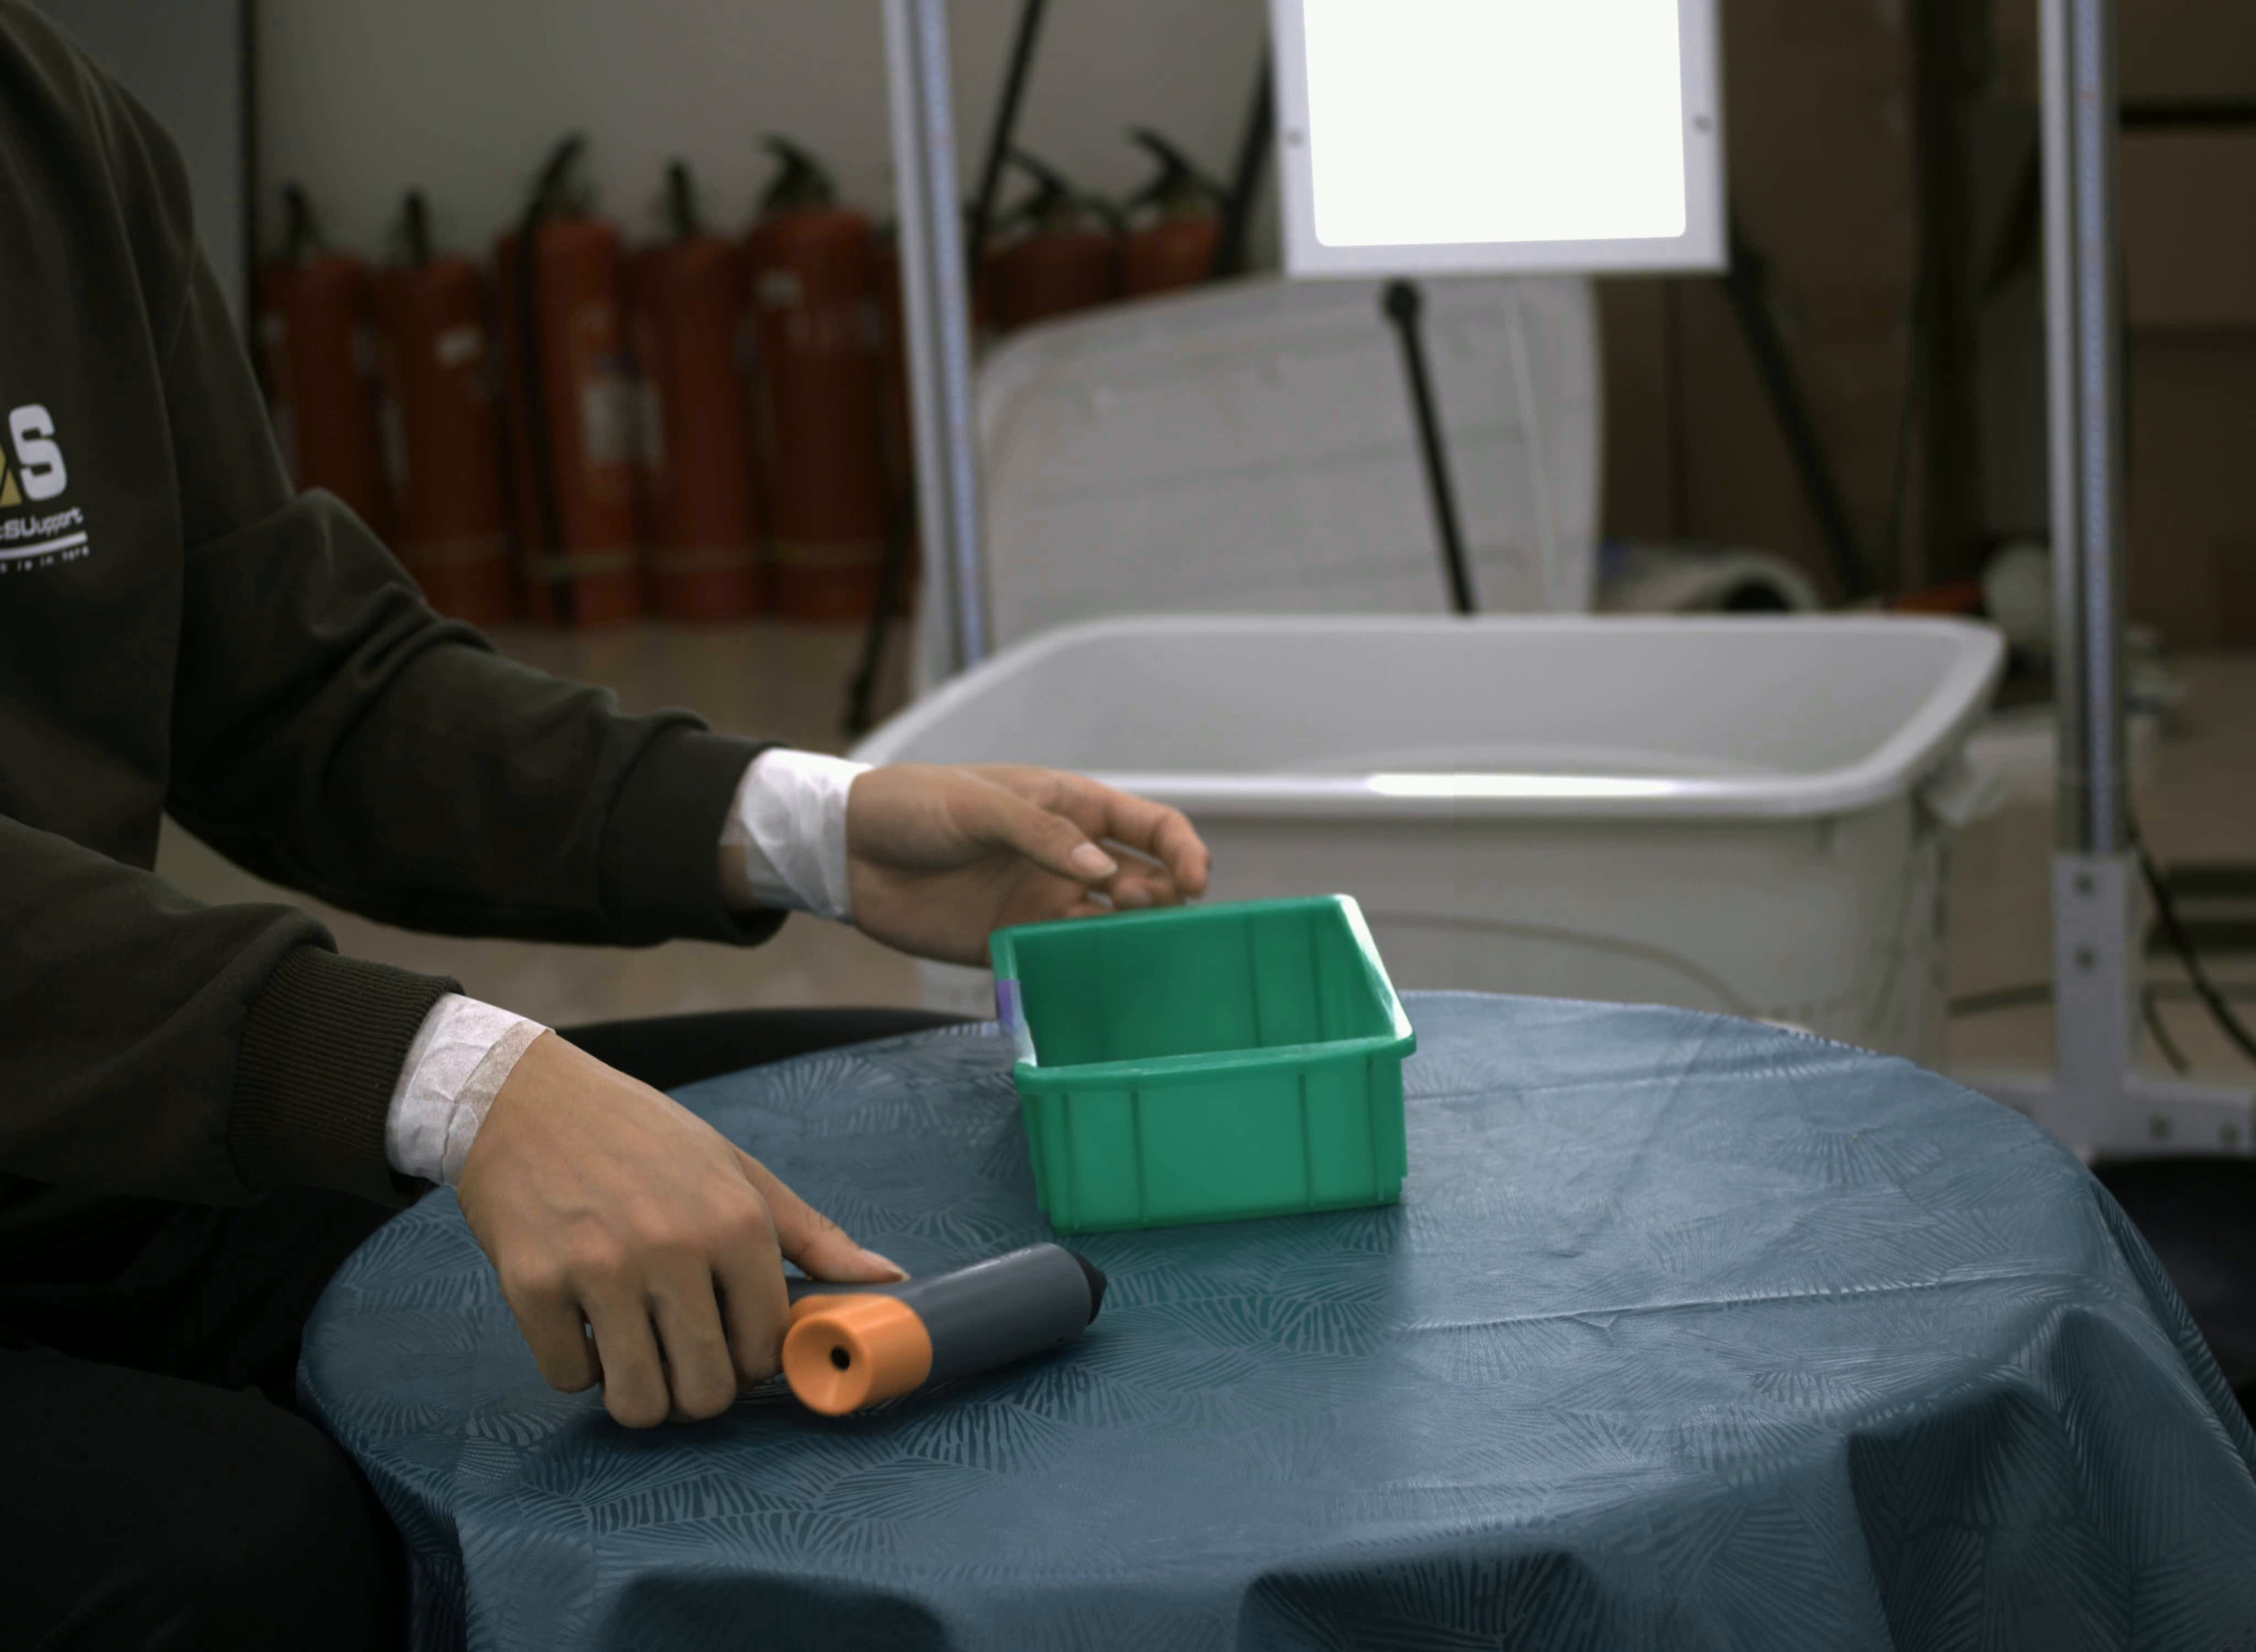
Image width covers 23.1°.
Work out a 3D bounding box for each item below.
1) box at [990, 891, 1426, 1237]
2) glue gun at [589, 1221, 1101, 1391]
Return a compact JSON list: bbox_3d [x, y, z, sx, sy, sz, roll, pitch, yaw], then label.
[{"bbox_3d":[0.027,0.083,1.936,0.138,0.065,0.211,-7,16,-3],"label":"box"},{"bbox_3d":[-0.089,0.153,1.746,0.142,0.041,0.115,4,3,28],"label":"glue gun"}]
